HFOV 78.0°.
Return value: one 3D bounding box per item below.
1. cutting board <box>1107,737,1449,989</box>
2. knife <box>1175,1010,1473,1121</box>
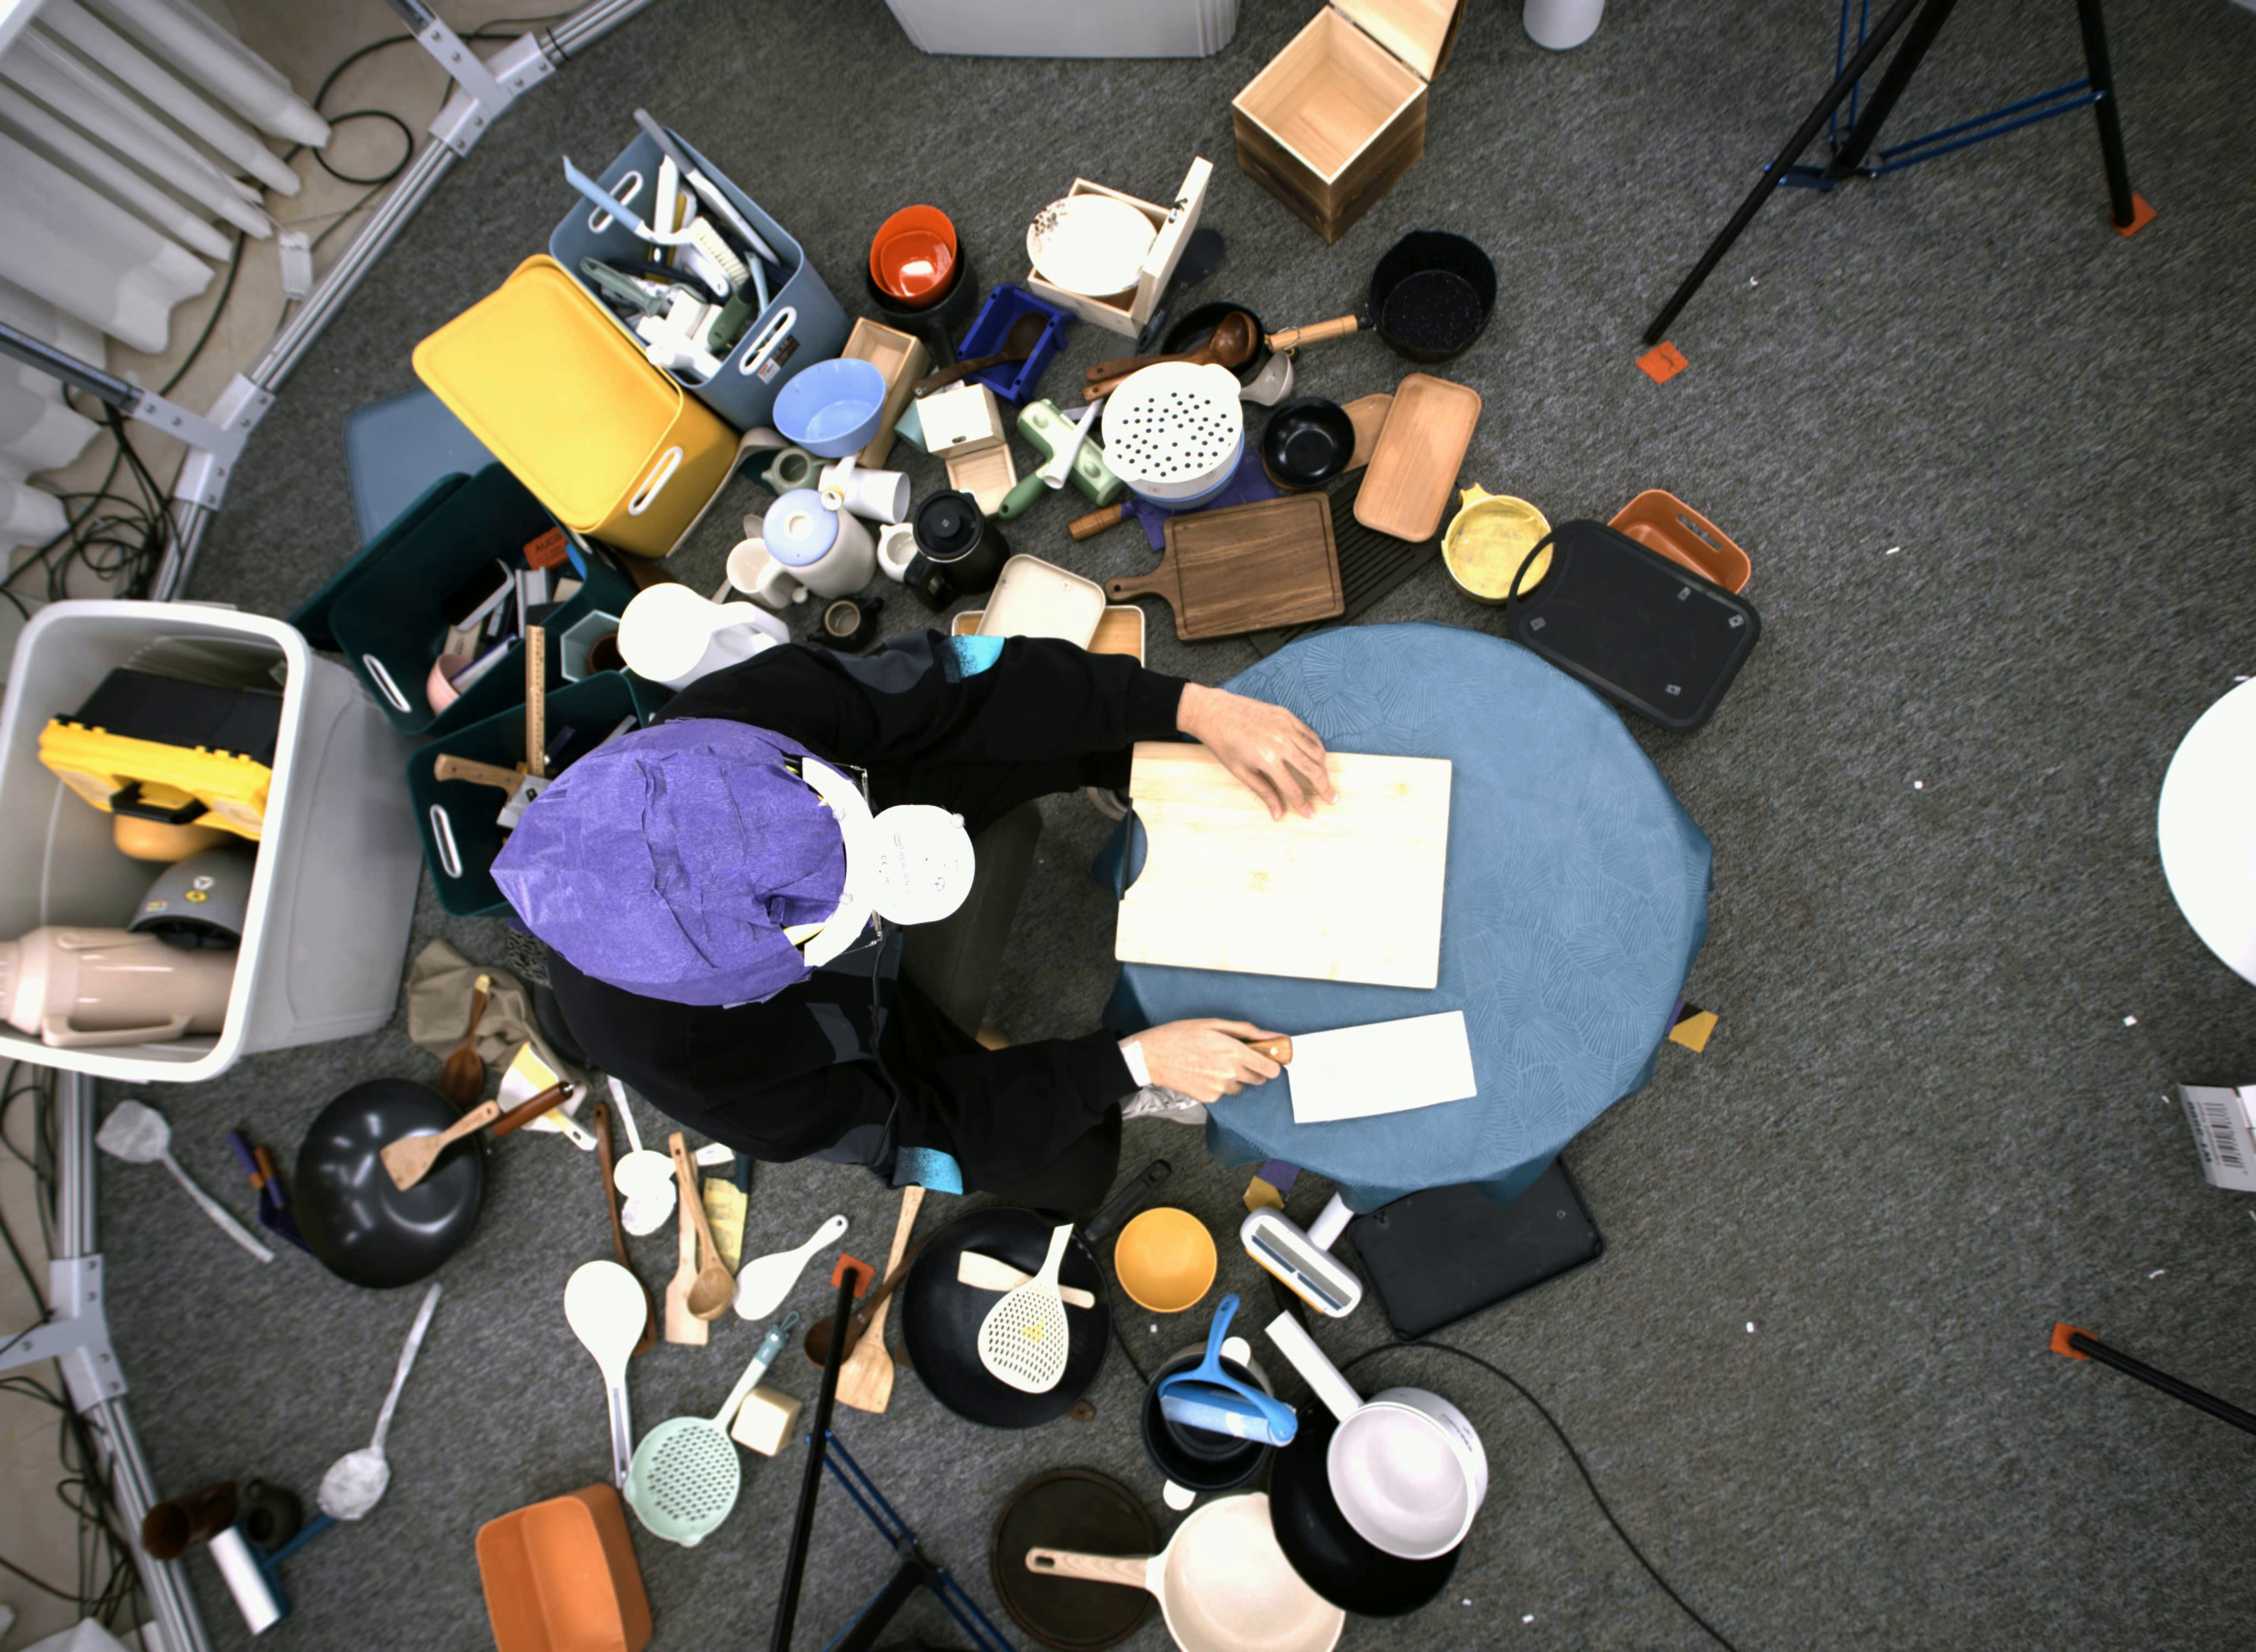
[{"bbox_3d":[0.158,0.036,1.474,0.350,0.023,0.250,3,87,11],"label":"cutting board"},{"bbox_3d":[0.205,0.256,1.443,0.306,0.021,0.093,-9,90,4],"label":"knife"}]
